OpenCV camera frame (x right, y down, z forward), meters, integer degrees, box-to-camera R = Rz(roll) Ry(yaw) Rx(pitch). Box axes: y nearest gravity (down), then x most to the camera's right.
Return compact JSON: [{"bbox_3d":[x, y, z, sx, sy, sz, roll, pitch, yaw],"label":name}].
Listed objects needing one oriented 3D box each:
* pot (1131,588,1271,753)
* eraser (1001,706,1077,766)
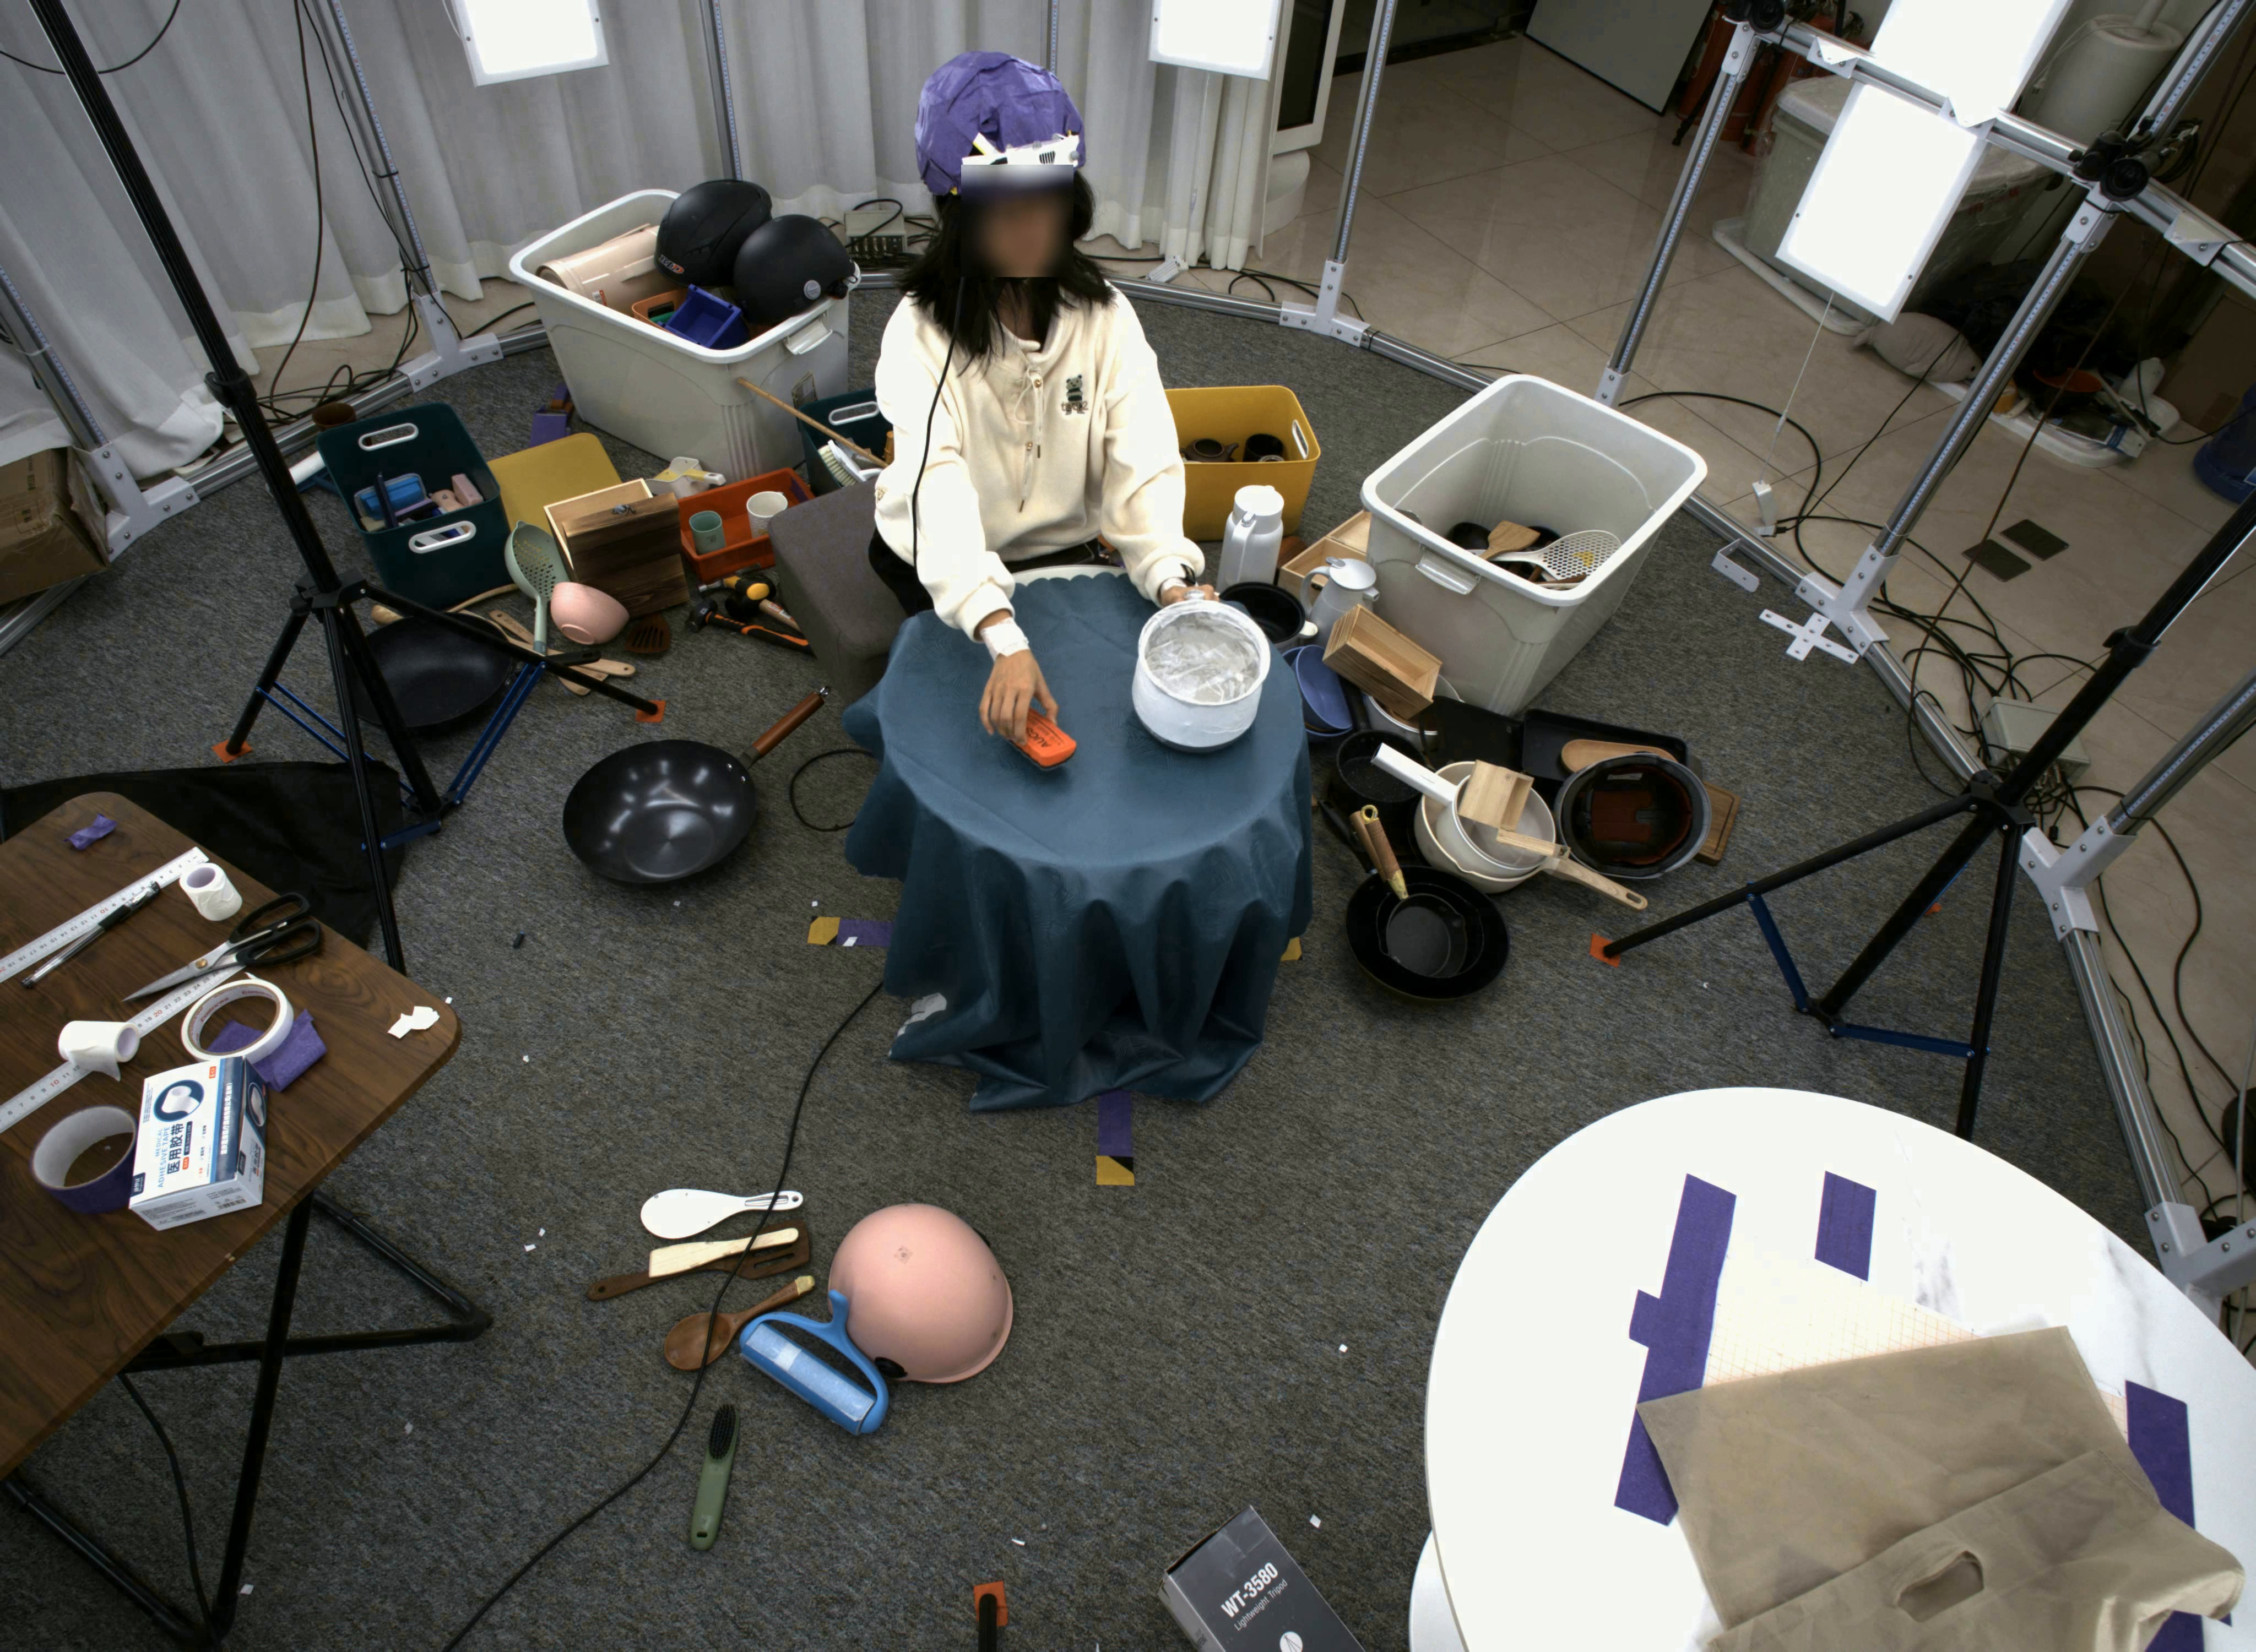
[{"bbox_3d":[0.093,-0.224,1.763,0.178,0.134,0.239,-1,59,-8],"label":"pot"},{"bbox_3d":[-0.120,-0.122,1.719,0.059,0.022,0.110,-24,45,-31],"label":"eraser"}]
